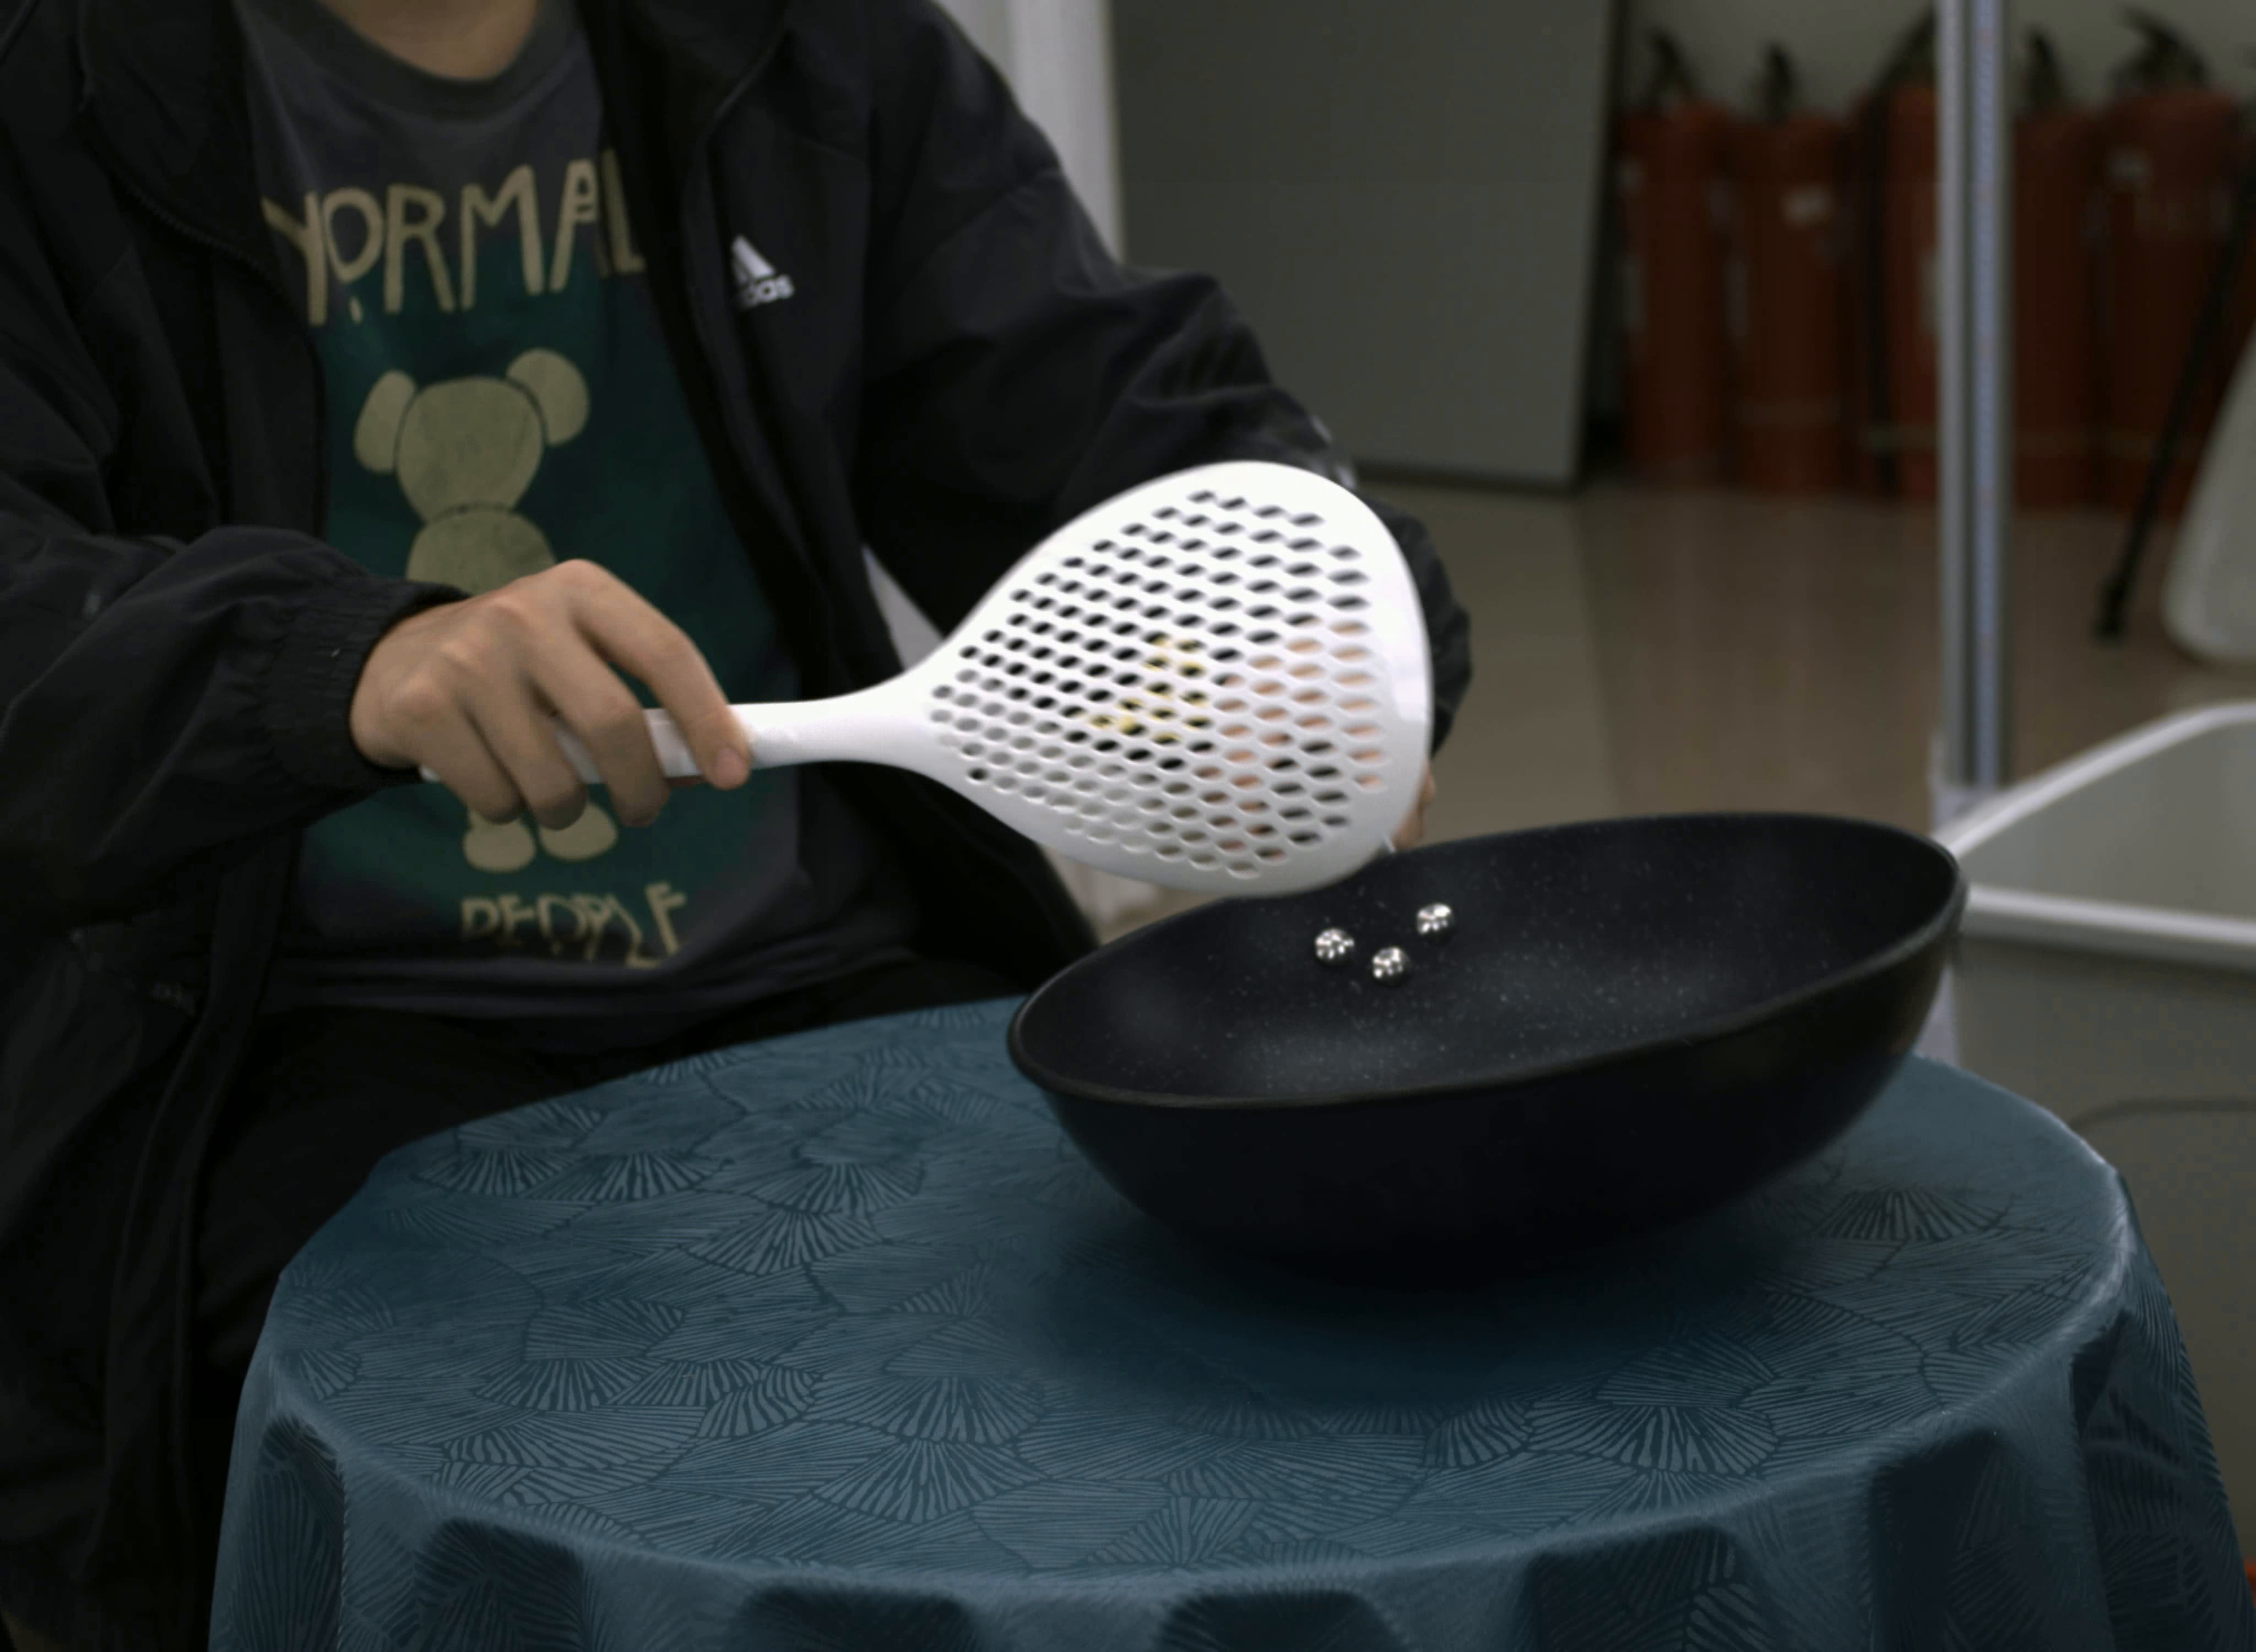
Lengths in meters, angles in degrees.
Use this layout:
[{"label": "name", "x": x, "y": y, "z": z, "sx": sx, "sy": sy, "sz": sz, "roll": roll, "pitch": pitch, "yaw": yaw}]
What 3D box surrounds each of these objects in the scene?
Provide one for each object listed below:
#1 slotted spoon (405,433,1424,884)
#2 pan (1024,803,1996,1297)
[{"label": "slotted spoon", "x": -0.072, "y": -0.037, "z": 1.696, "sx": 0.349, "sy": 0.138, "sz": 0.049, "roll": -7, "pitch": 1, "yaw": 29}, {"label": "pan", "x": 0.105, "y": 0.056, "z": 1.774, "sx": 0.305, "sy": 0.113, "sz": 0.480, "roll": -11, "pitch": 12, "yaw": -10}]
